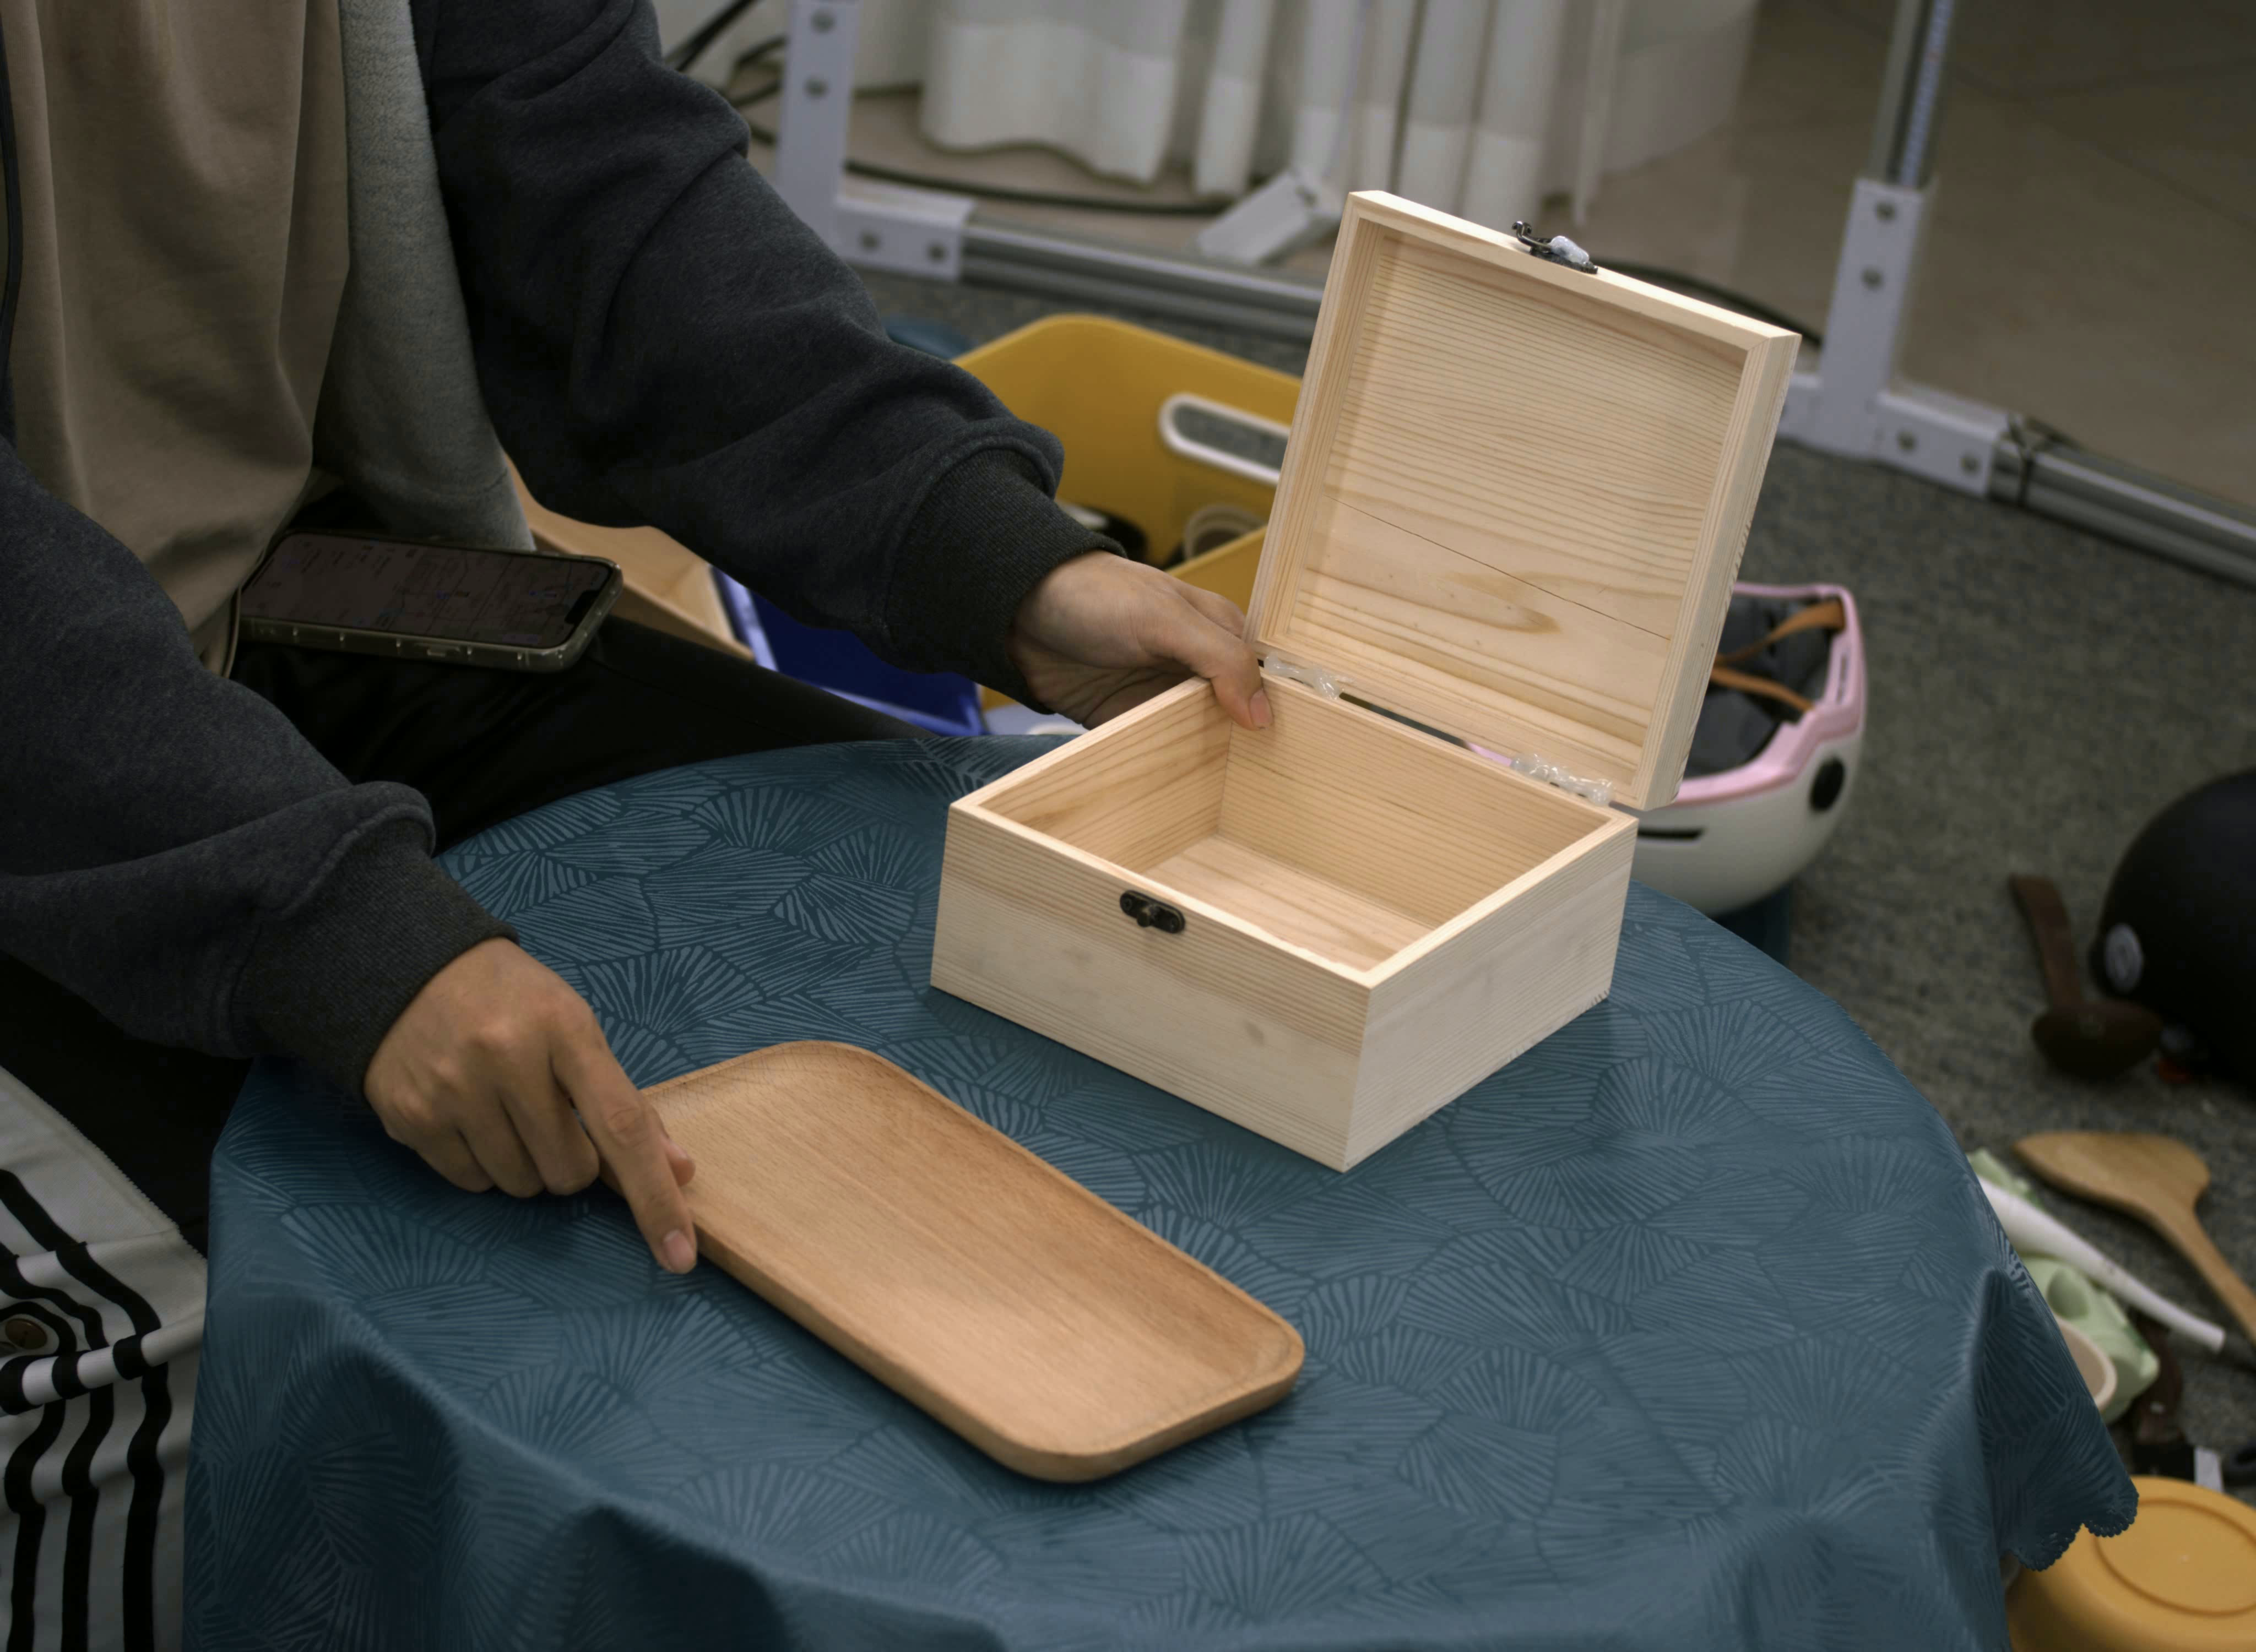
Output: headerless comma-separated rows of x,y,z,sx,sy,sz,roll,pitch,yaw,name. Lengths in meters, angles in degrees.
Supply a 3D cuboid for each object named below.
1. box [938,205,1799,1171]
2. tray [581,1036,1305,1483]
0.085,-0.059,1.910,0.183,0.252,0.264,20,28,30,box
-0.063,0.138,1.735,0.130,0.023,0.253,-14,33,-42,tray
